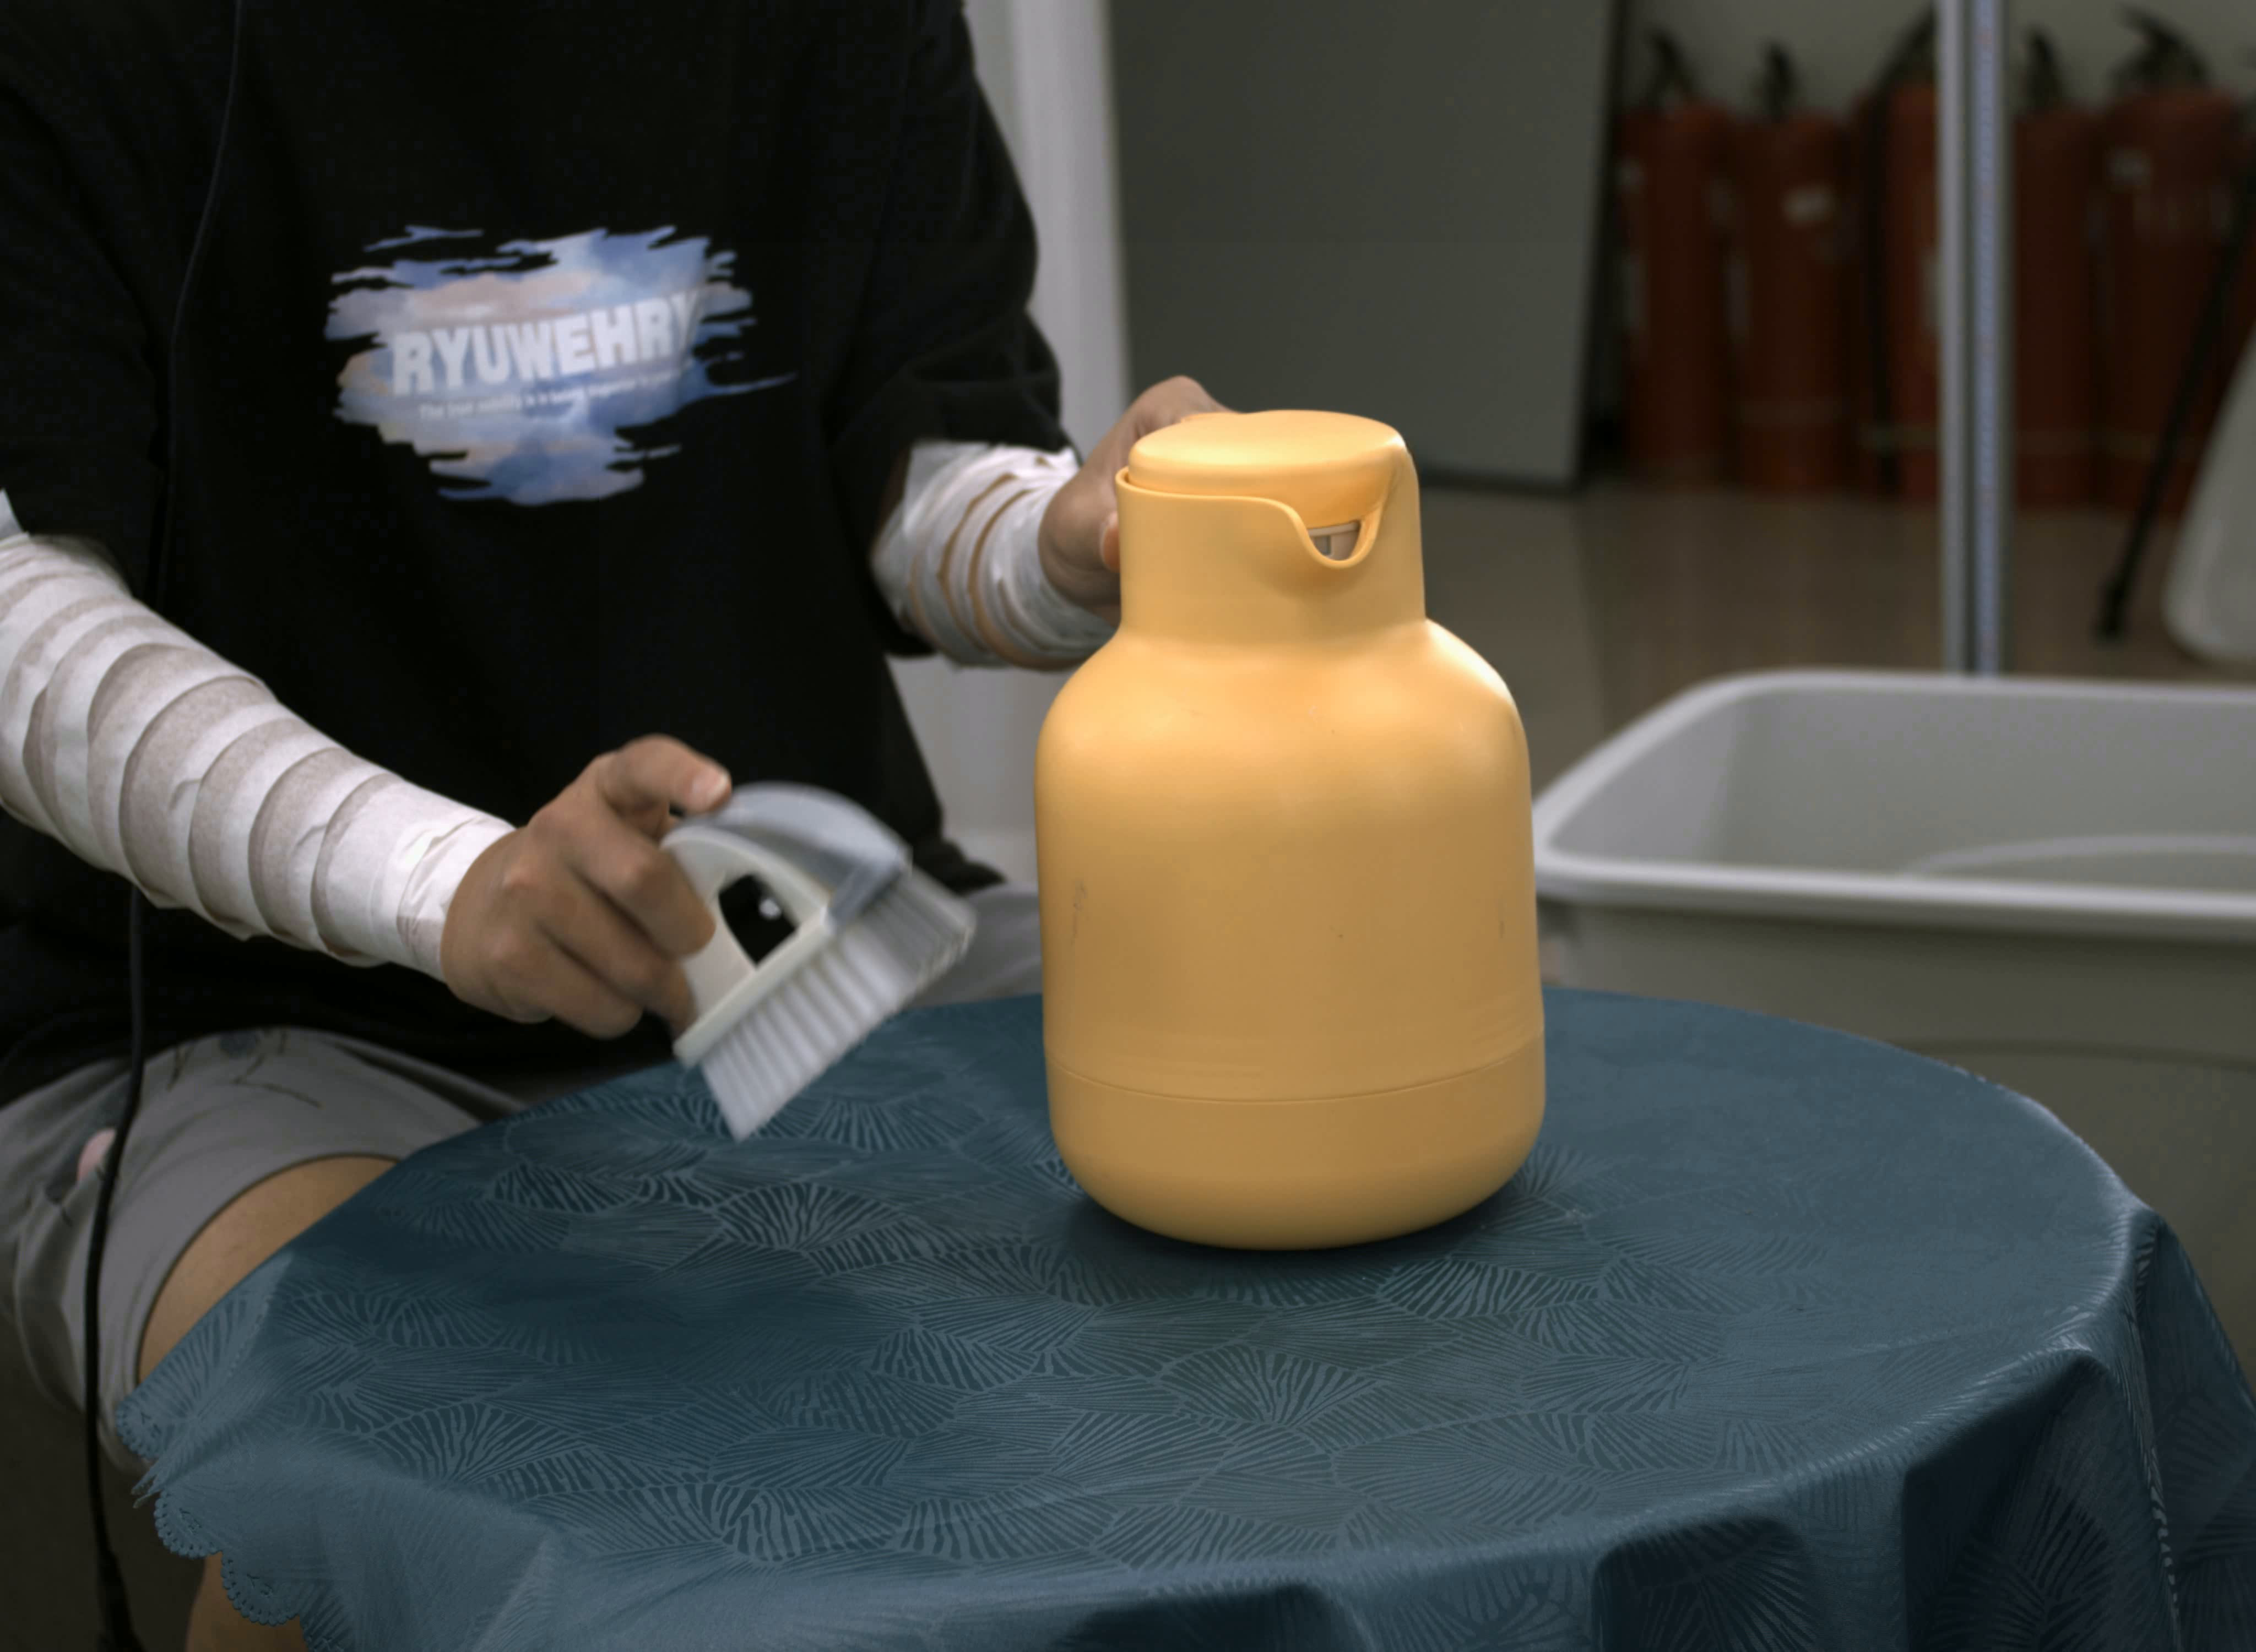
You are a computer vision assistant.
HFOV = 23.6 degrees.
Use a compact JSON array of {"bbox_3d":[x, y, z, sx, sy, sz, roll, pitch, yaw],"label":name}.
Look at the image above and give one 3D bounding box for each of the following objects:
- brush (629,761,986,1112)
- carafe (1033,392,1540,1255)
[{"bbox_3d":[-0.103,0.020,1.665,0.061,0.094,0.177,-44,1,-29],"label":"brush"},{"bbox_3d":[0.046,-0.009,1.743,0.160,0.263,0.204,-5,14,-12],"label":"carafe"}]
